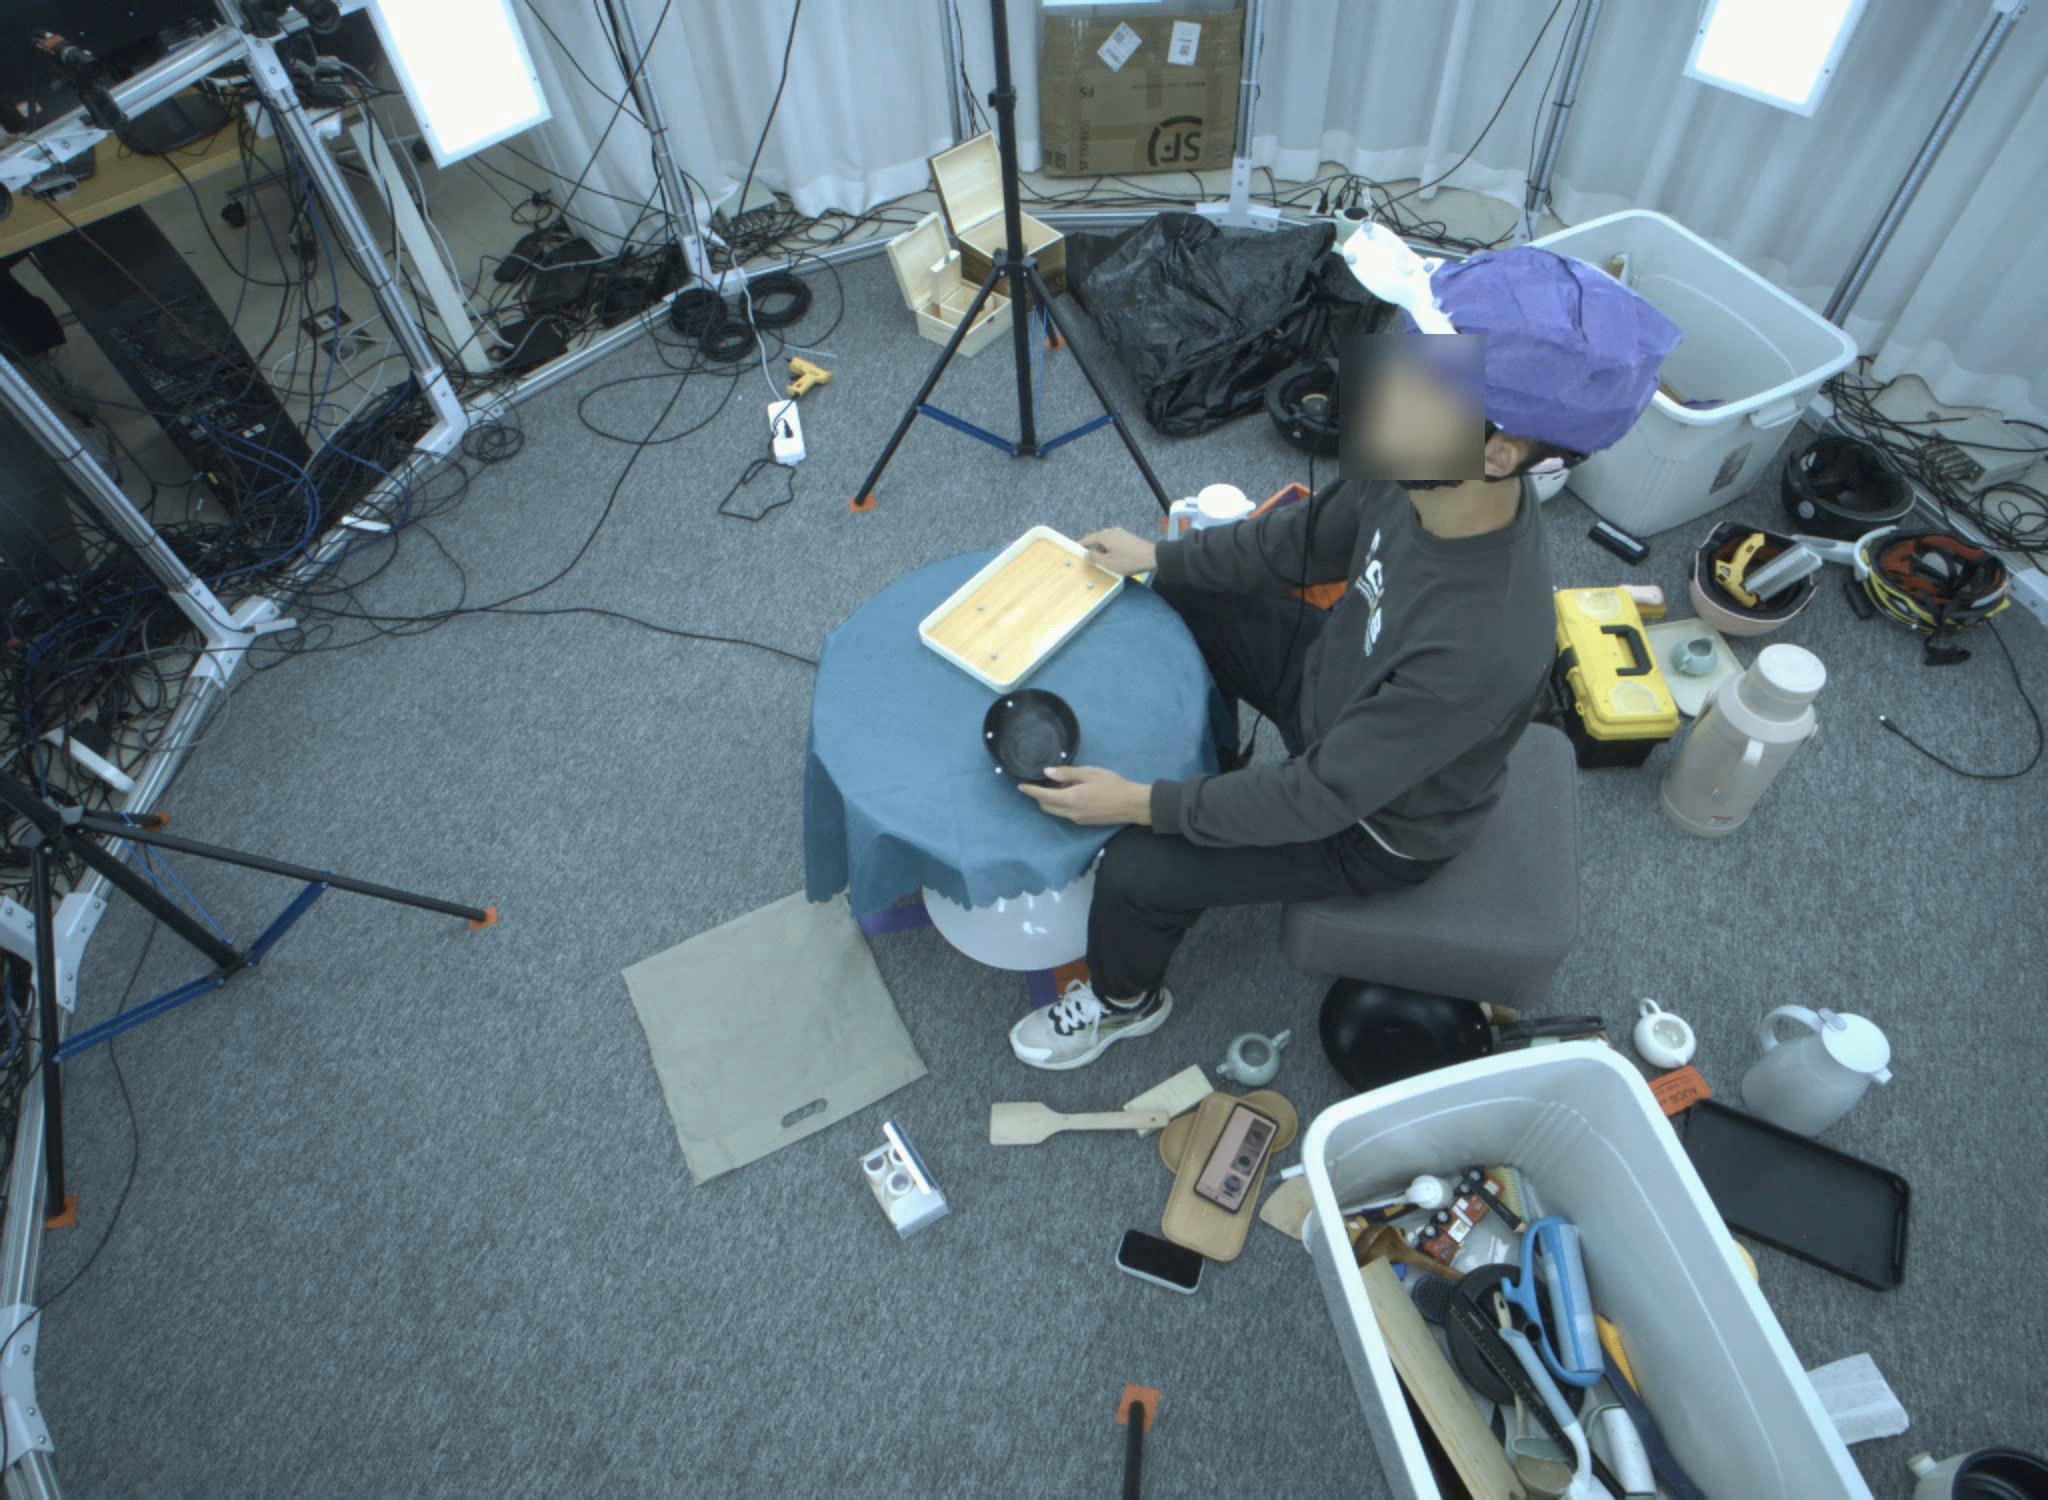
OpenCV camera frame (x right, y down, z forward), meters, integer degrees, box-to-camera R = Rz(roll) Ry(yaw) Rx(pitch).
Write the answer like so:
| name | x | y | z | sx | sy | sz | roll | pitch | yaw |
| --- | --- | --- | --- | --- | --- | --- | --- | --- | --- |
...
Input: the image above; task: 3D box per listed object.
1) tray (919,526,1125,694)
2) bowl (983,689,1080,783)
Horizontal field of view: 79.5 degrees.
| name | x | y | z | sx | sy | sz | roll | pitch | yaw |
| --- | --- | --- | --- | --- | --- | --- | --- | --- | --- |
| tray | -0.001 | -0.226 | 1.929 | 0.188 | 0.028 | 0.302 | 34 | 62 | 23 |
| bowl | 0.011 | -0.012 | 1.756 | 0.138 | 0.067 | 0.168 | -8 | 53 | -6 |
